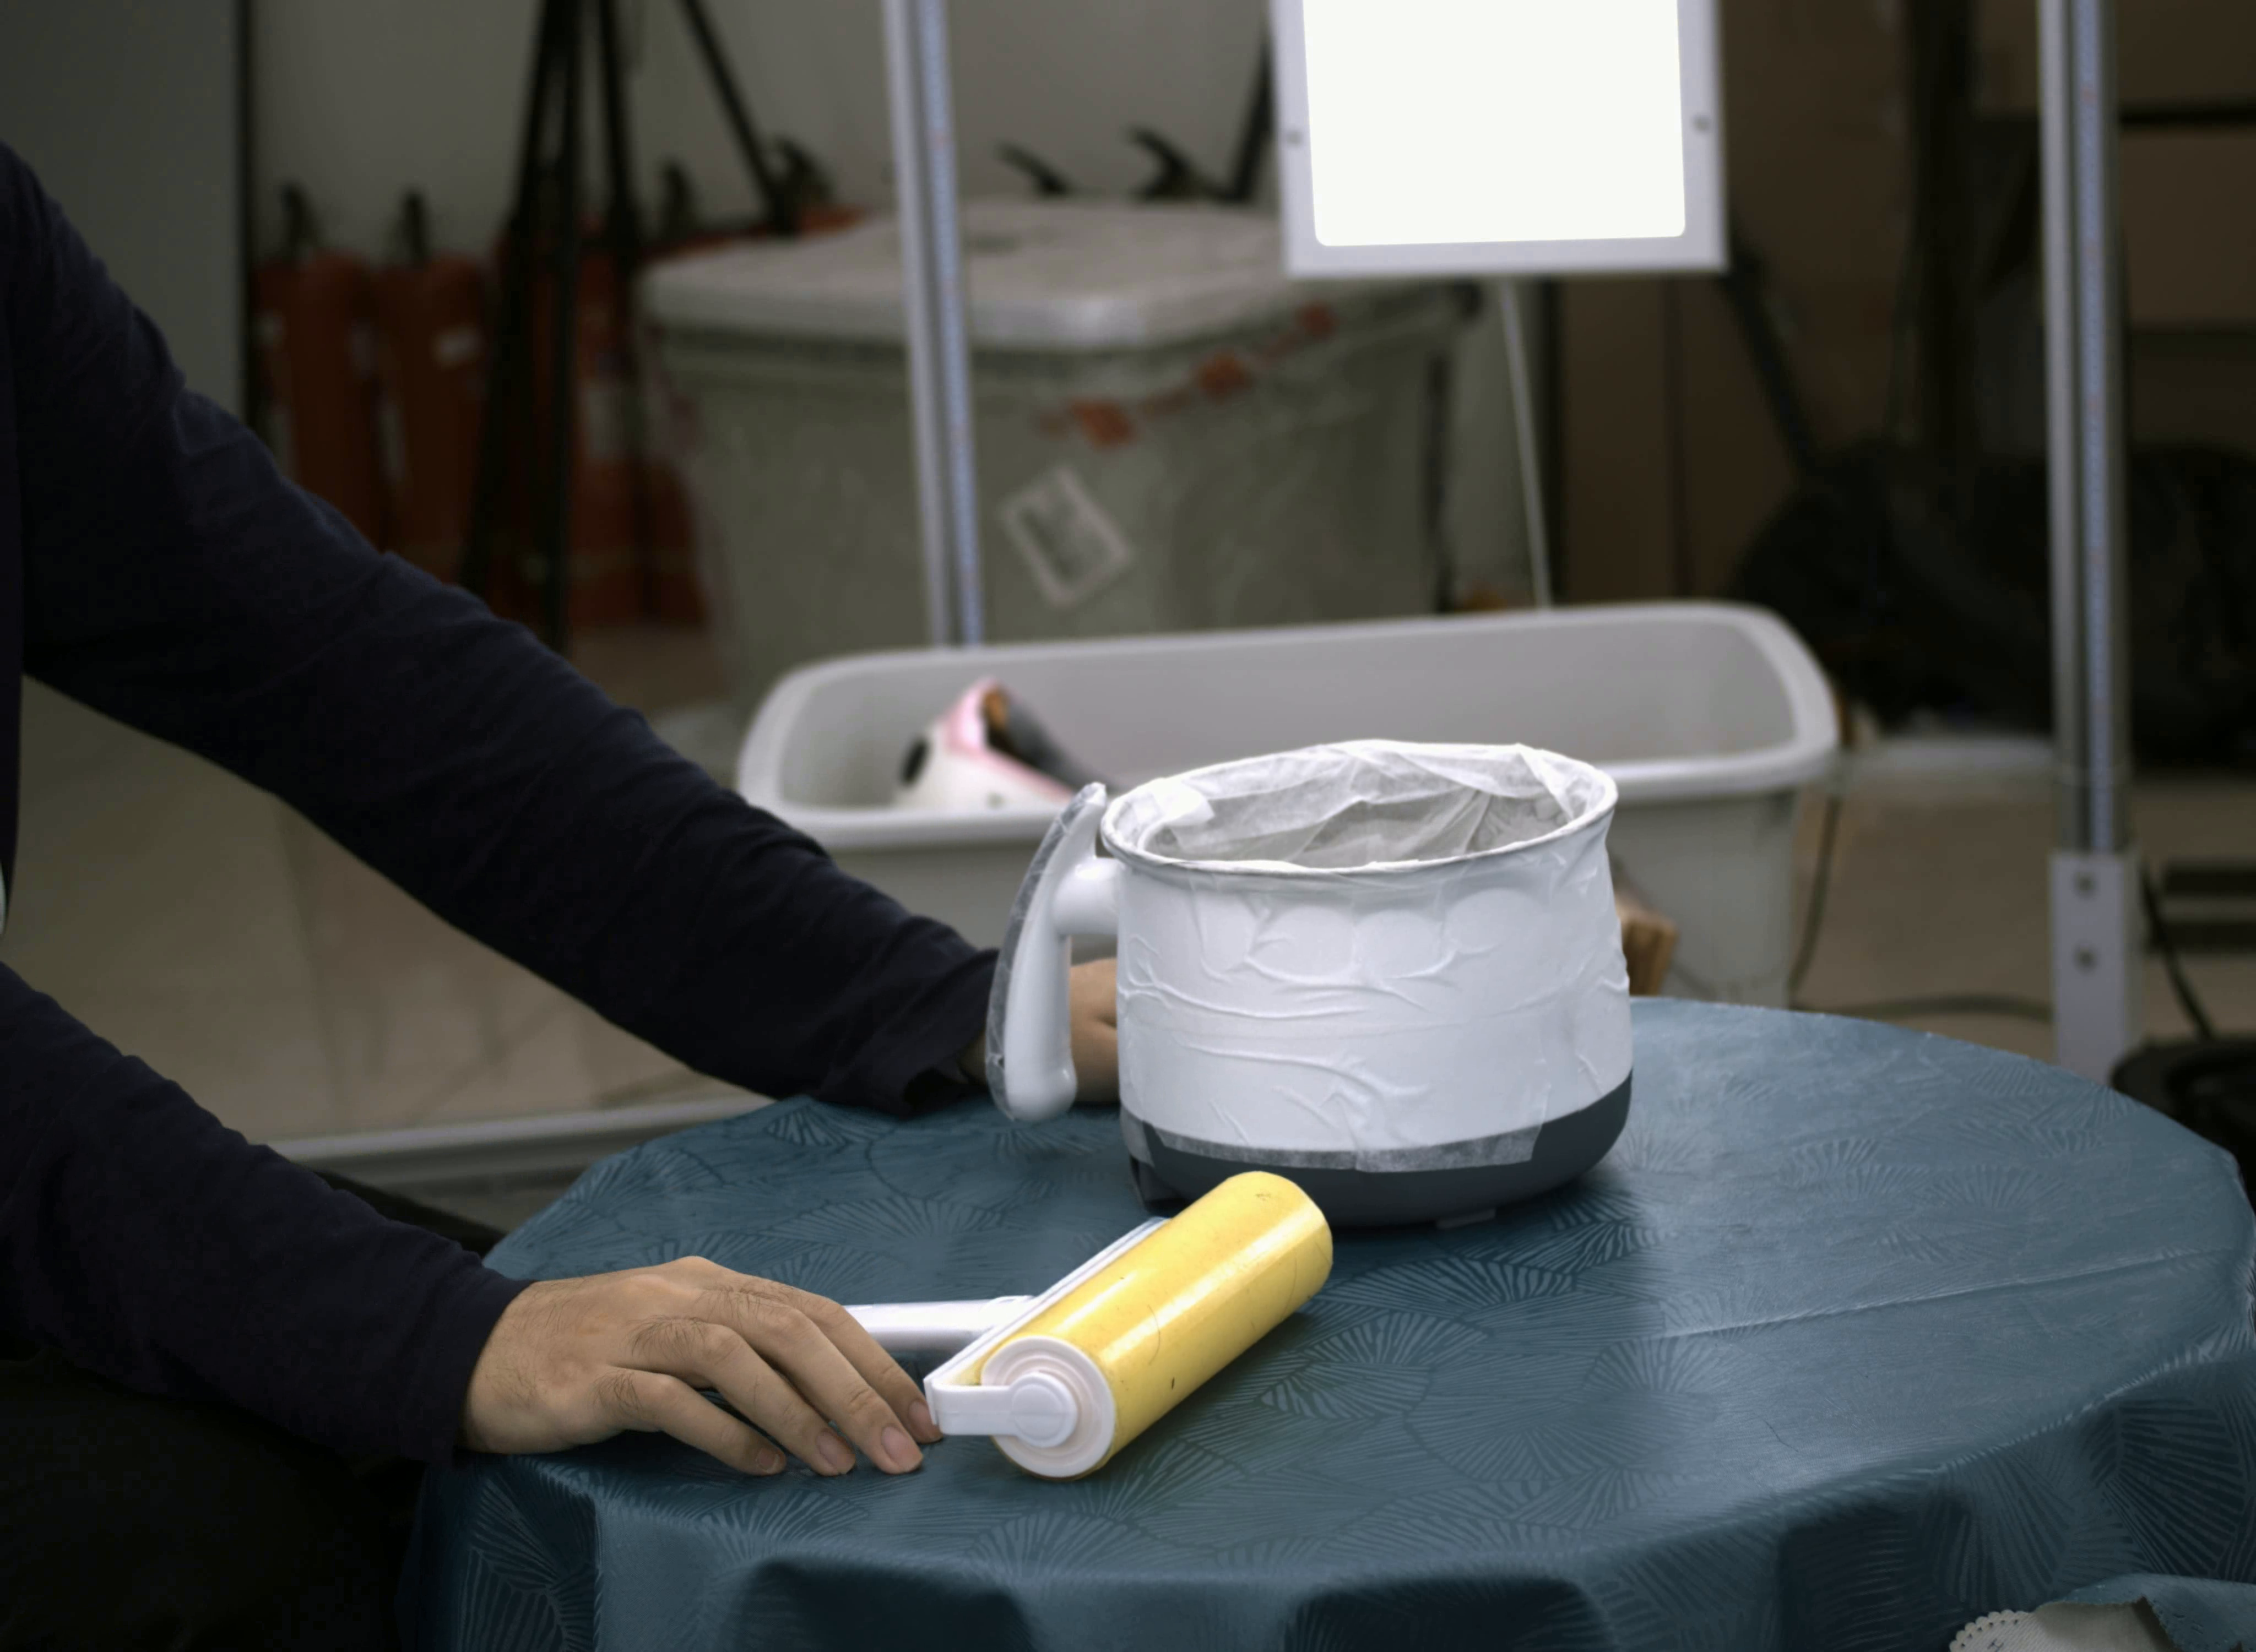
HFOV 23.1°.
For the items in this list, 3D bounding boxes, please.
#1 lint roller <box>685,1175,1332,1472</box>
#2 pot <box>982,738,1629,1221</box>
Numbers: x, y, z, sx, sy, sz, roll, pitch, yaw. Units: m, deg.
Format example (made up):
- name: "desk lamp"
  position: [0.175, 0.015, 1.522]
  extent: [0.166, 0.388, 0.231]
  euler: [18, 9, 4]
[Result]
- name: "lint roller"
  position: [-0.054, 0.150, 1.725]
  extent: [0.195, 0.051, 0.170]
  euler: [3, 15, 26]
- name: "pot"
  position: [0.058, 0.050, 1.892]
  extent: [0.237, 0.137, 0.175]
  euler: [3, 14, 23]
